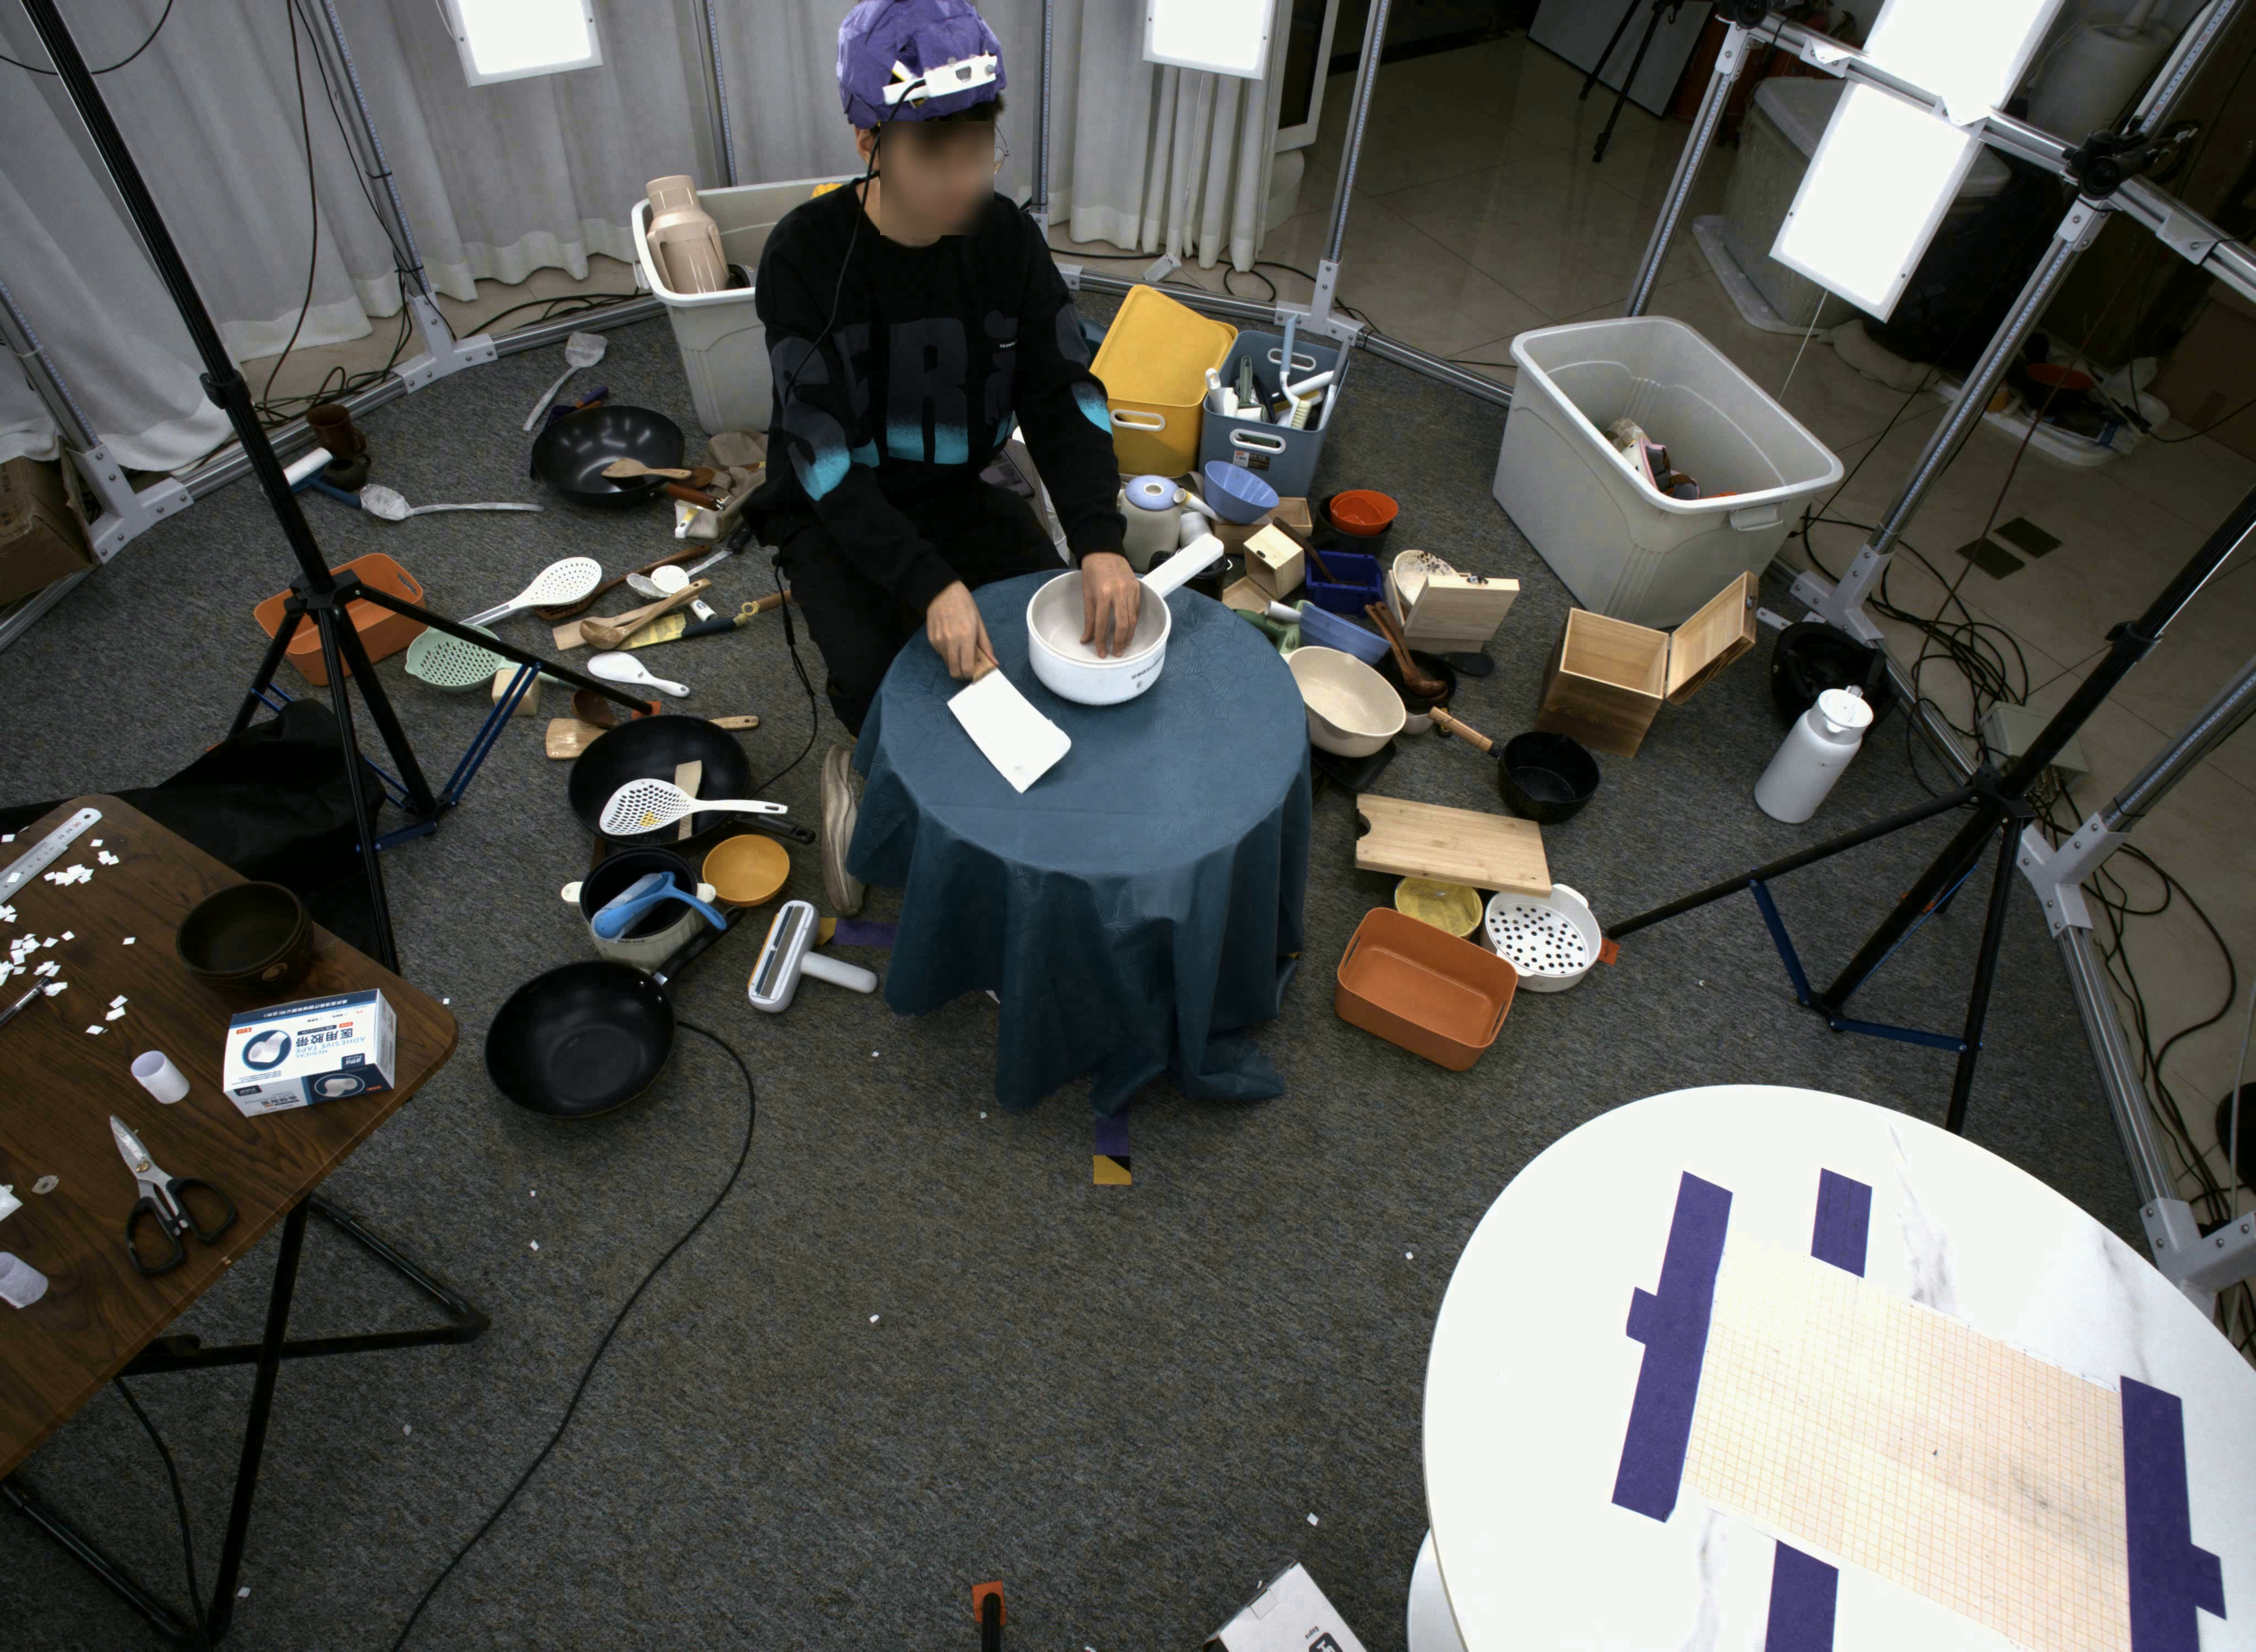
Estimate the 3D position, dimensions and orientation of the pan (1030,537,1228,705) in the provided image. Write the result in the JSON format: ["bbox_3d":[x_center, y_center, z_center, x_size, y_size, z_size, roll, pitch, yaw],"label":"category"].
[{"bbox_3d":[0.013,-0.305,1.871,0.204,0.099,0.358,35,55,25],"label":"pan"}]

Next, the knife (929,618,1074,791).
[{"bbox_3d":[-0.186,-0.179,1.778,0.114,0.021,0.321,-34,60,-4],"label":"knife"}]
